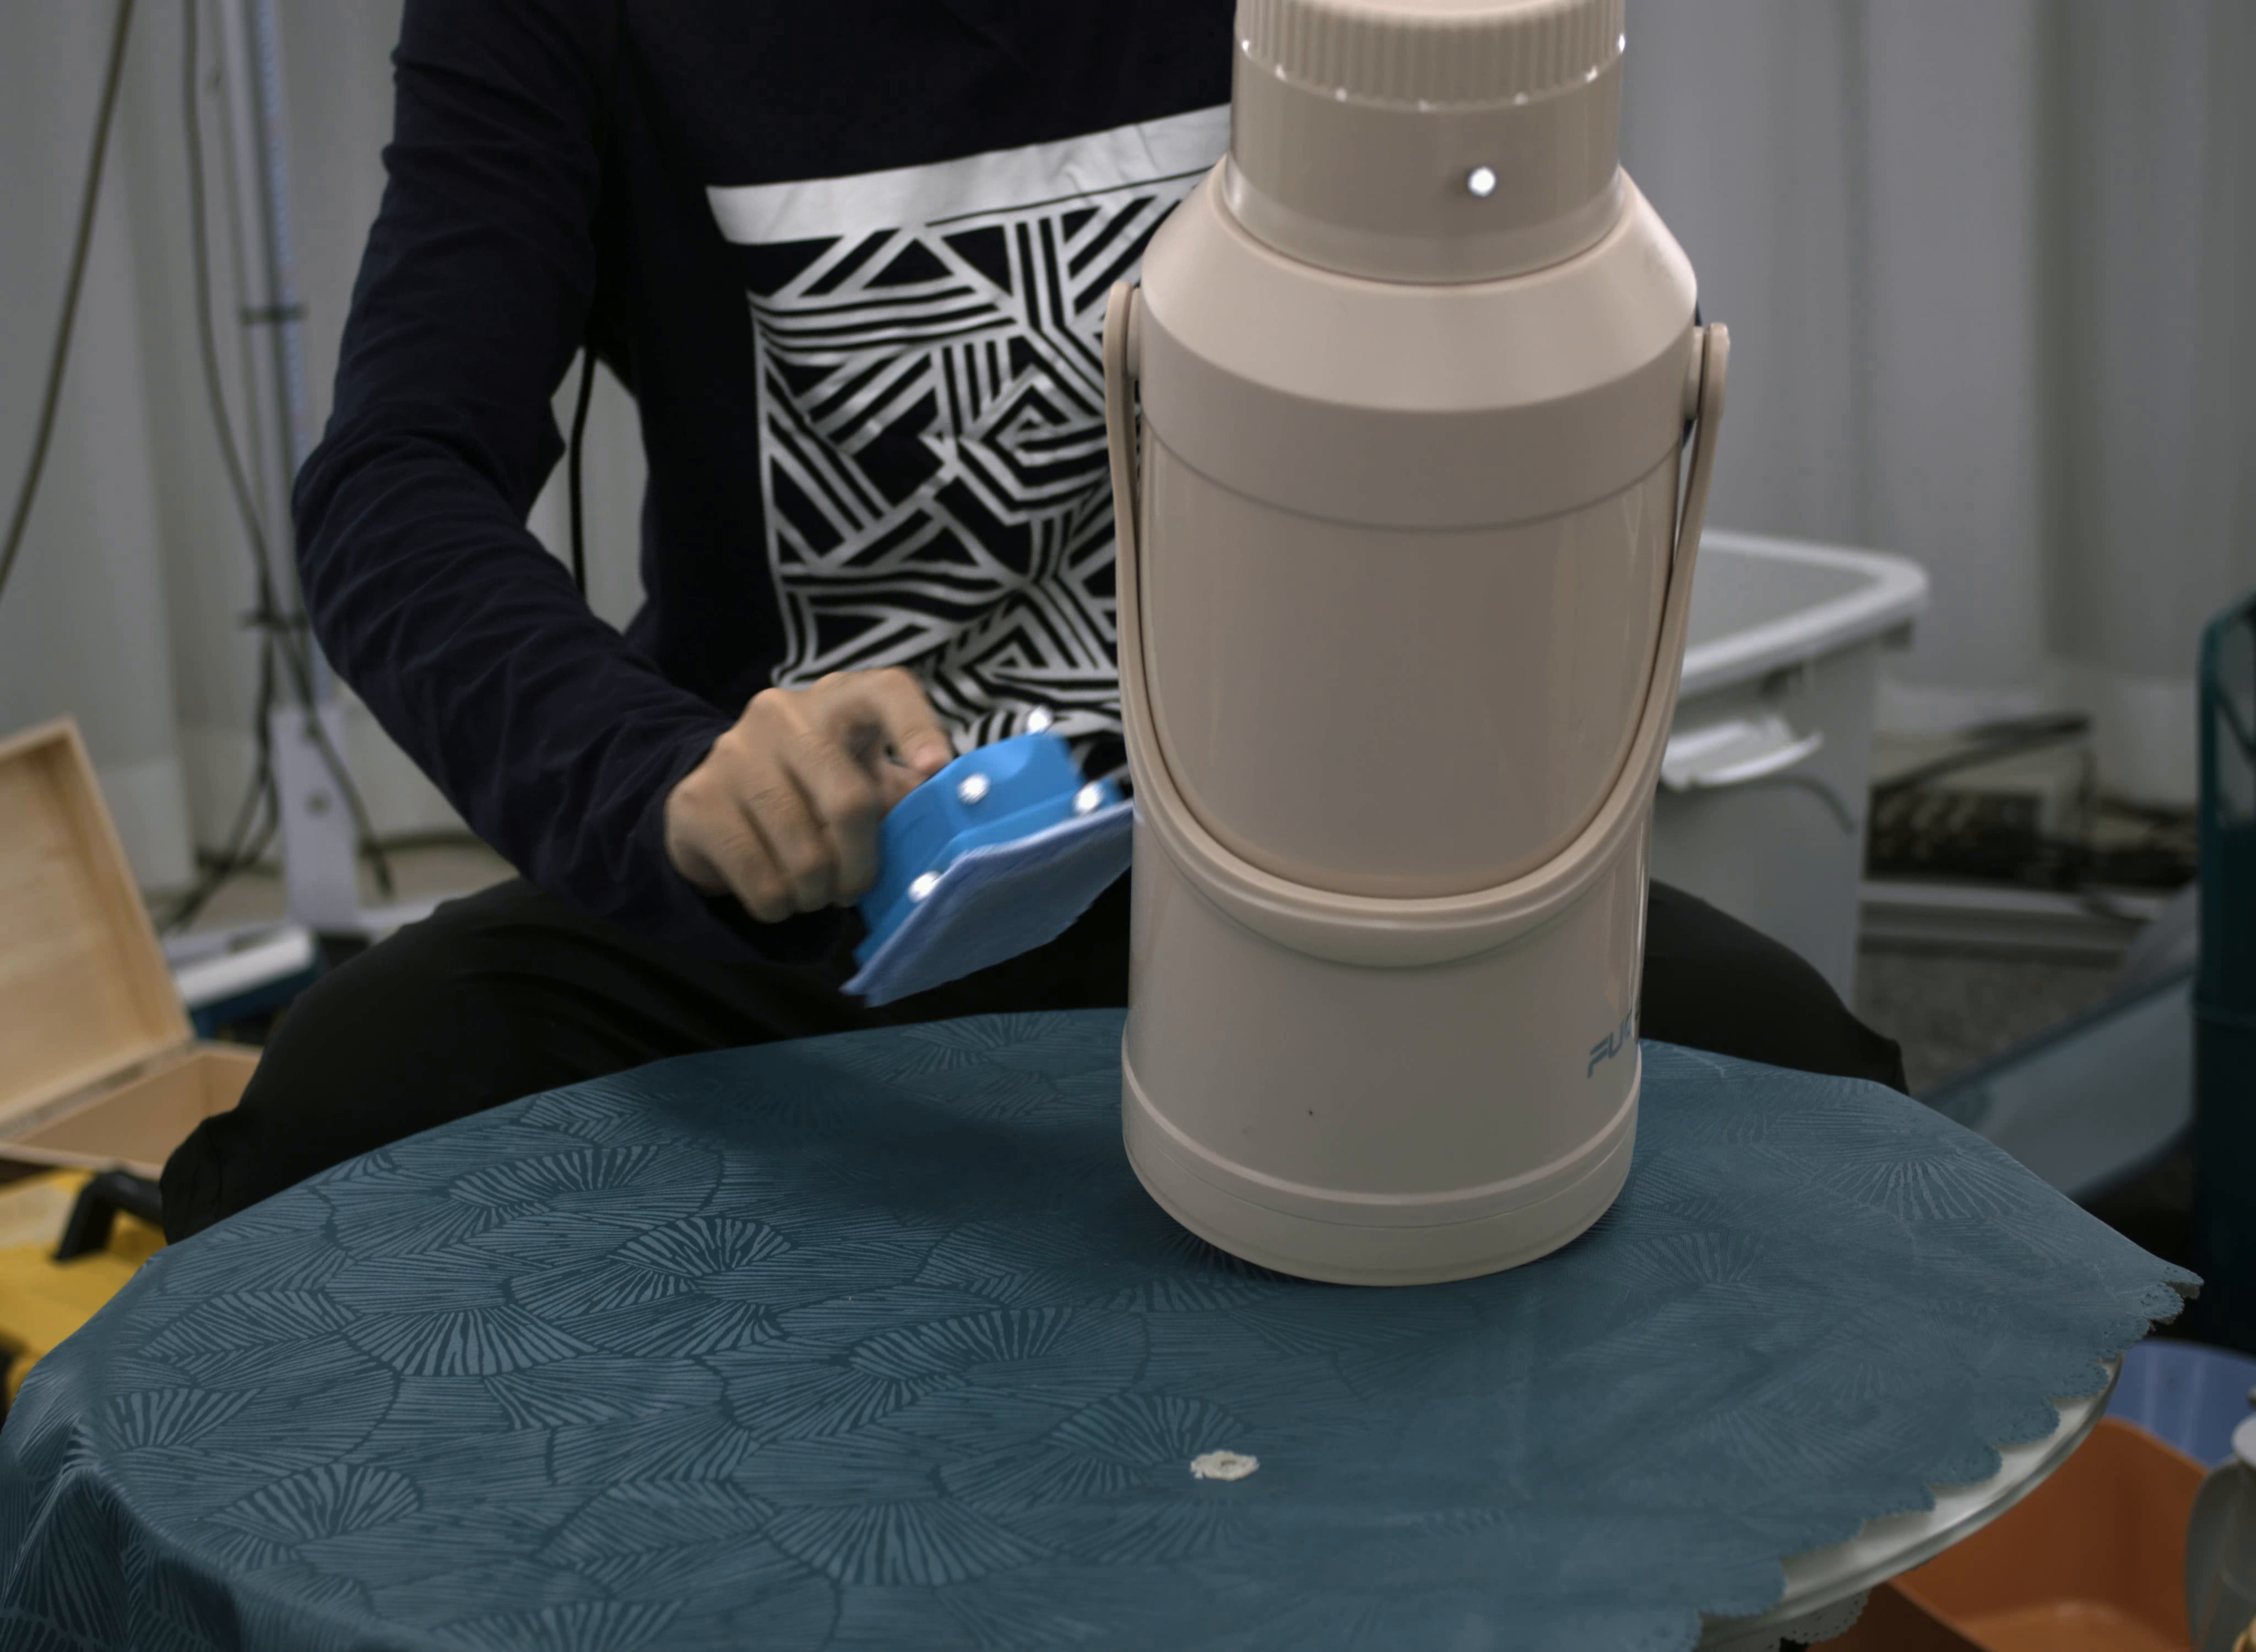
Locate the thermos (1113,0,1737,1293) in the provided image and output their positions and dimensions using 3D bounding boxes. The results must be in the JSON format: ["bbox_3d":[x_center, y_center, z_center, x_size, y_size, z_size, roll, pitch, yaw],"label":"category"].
[{"bbox_3d":[0.085,-0.079,1.592,0.175,0.402,0.209,3,31,6],"label":"thermos"}]

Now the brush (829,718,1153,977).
[{"bbox_3d":[-0.048,0.003,1.728,0.083,0.056,0.143,-18,-11,-22],"label":"brush"}]
